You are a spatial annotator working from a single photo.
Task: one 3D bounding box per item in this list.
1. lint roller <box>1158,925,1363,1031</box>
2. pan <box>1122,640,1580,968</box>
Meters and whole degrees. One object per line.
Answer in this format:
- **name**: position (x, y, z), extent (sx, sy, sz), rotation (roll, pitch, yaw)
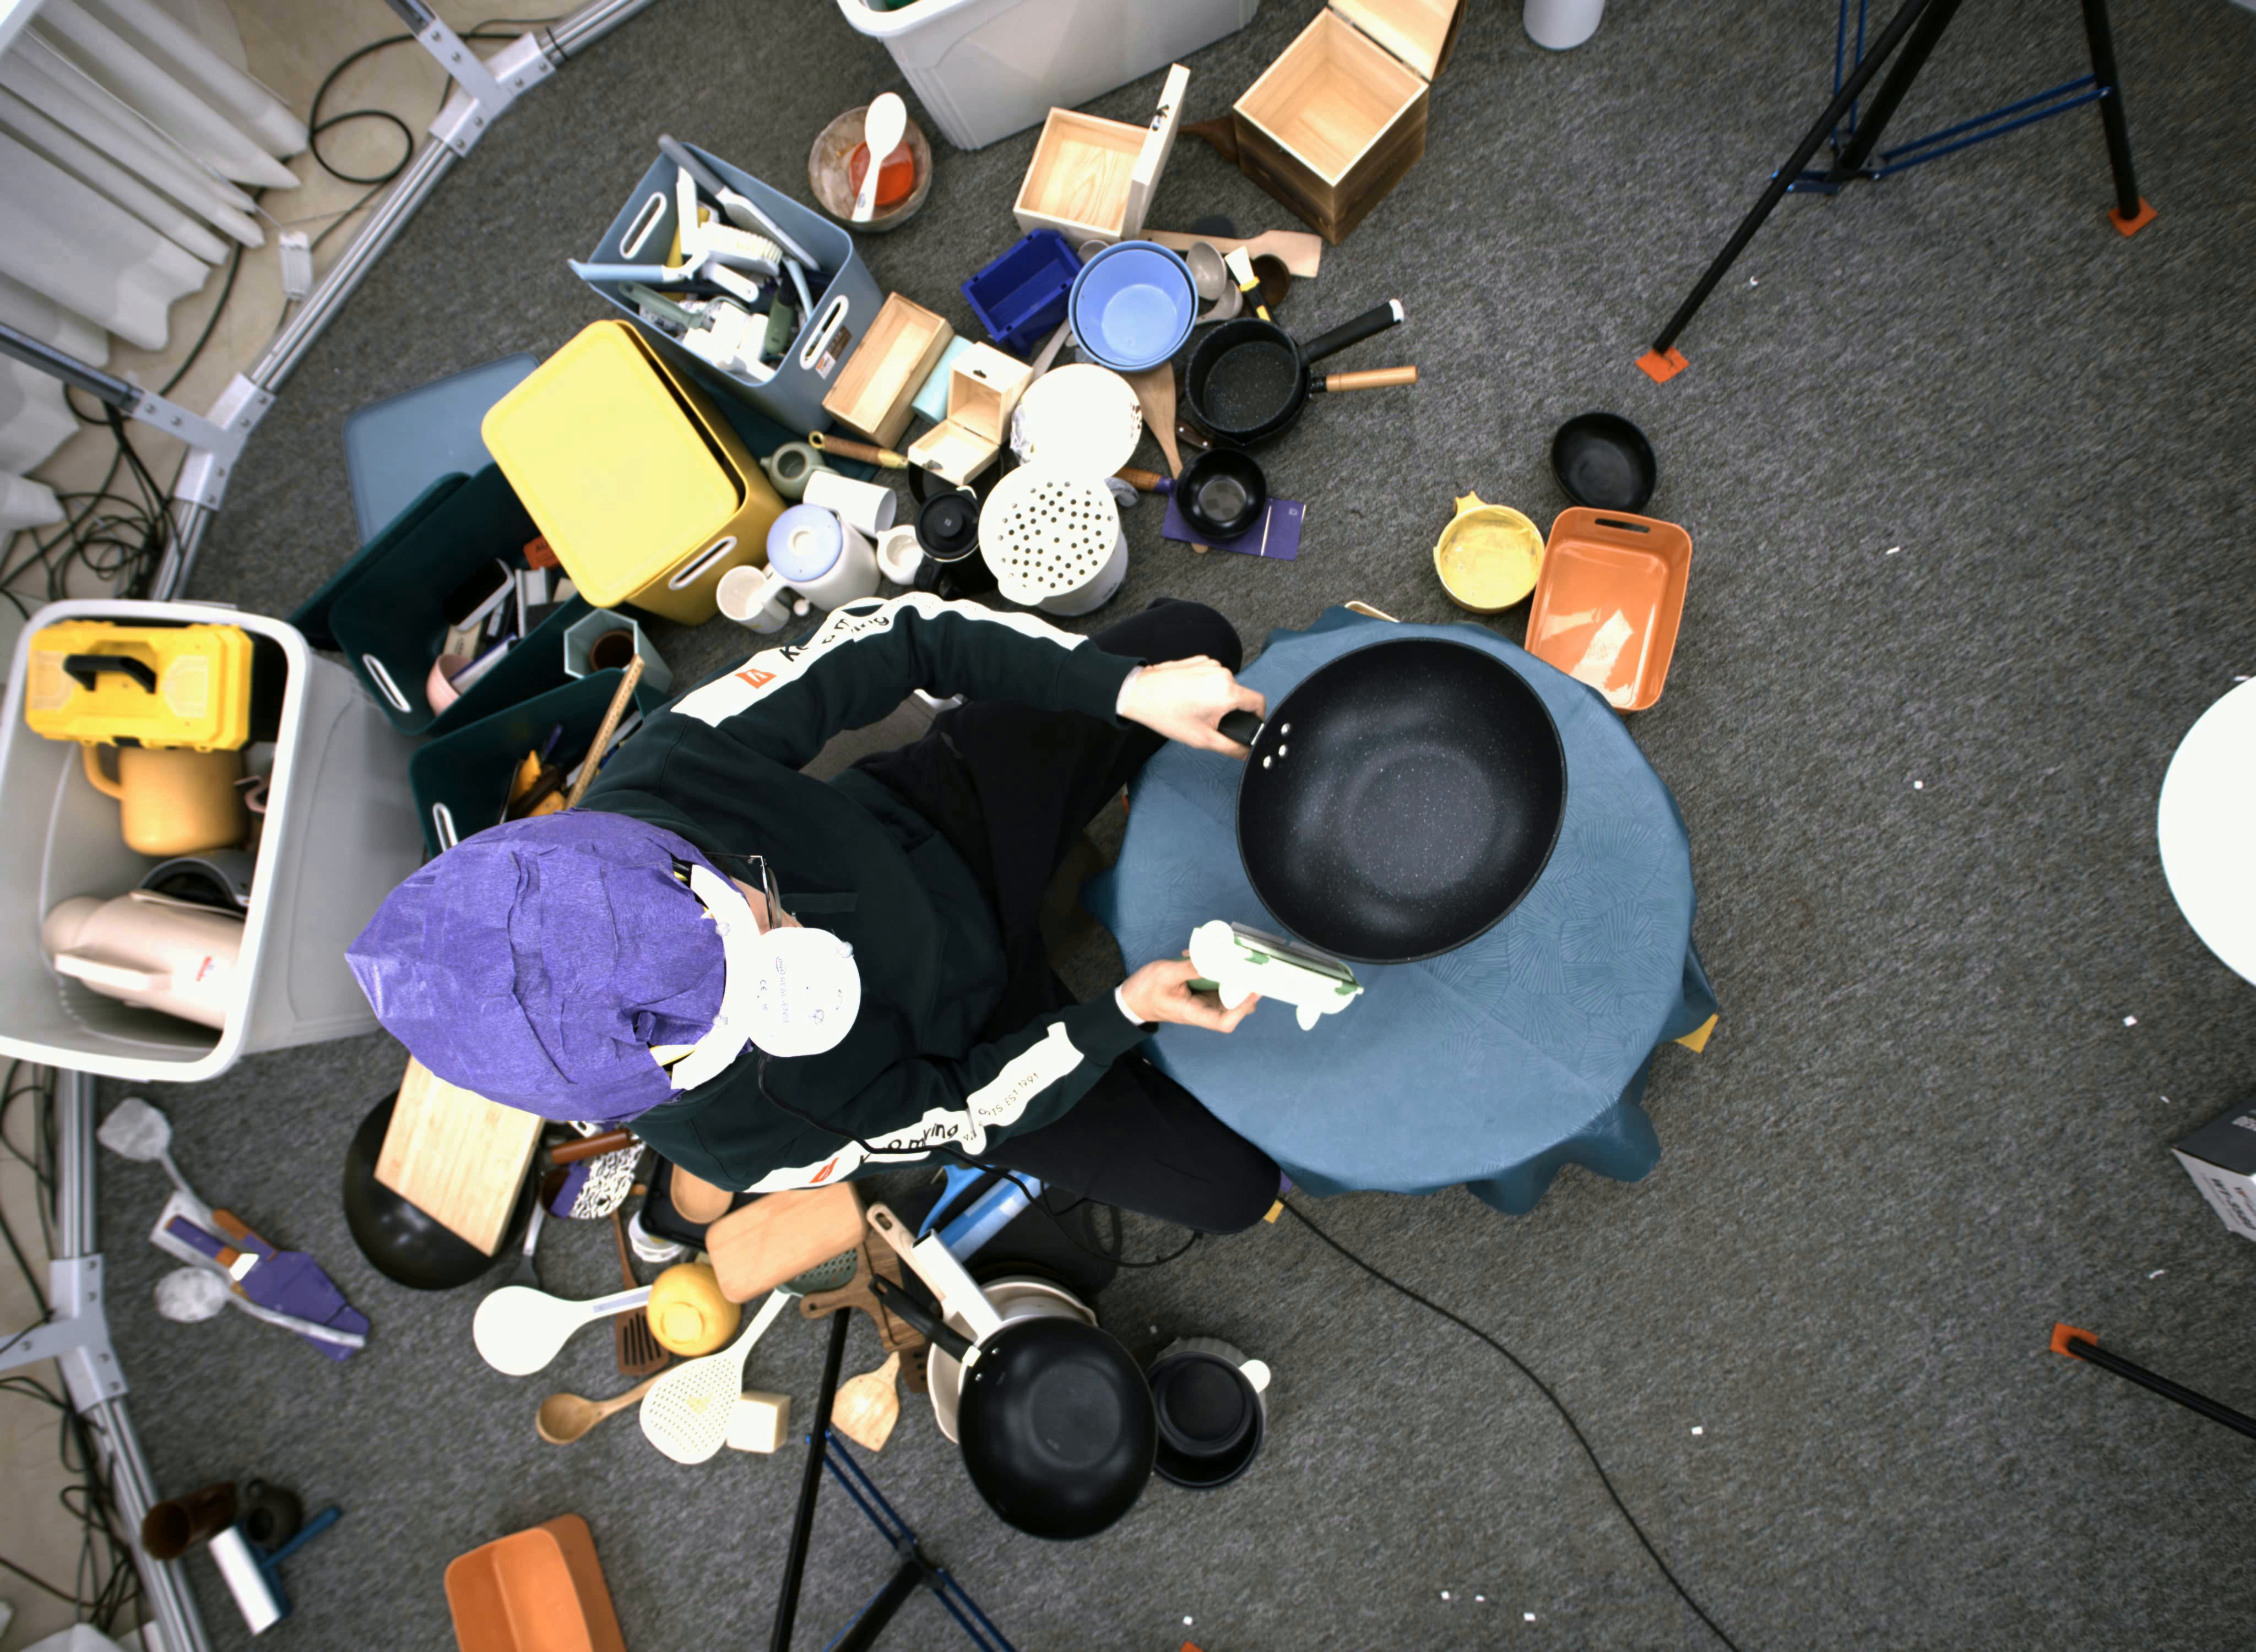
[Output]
- **lint roller**: position (0.100, 0.157, 1.347), extent (0.186, 0.199, 0.081), rotation (-20, 62, 40)
- **pan**: position (0.196, -0.052, 1.301), extent (0.474, 0.112, 0.310), rotation (29, 90, 32)
